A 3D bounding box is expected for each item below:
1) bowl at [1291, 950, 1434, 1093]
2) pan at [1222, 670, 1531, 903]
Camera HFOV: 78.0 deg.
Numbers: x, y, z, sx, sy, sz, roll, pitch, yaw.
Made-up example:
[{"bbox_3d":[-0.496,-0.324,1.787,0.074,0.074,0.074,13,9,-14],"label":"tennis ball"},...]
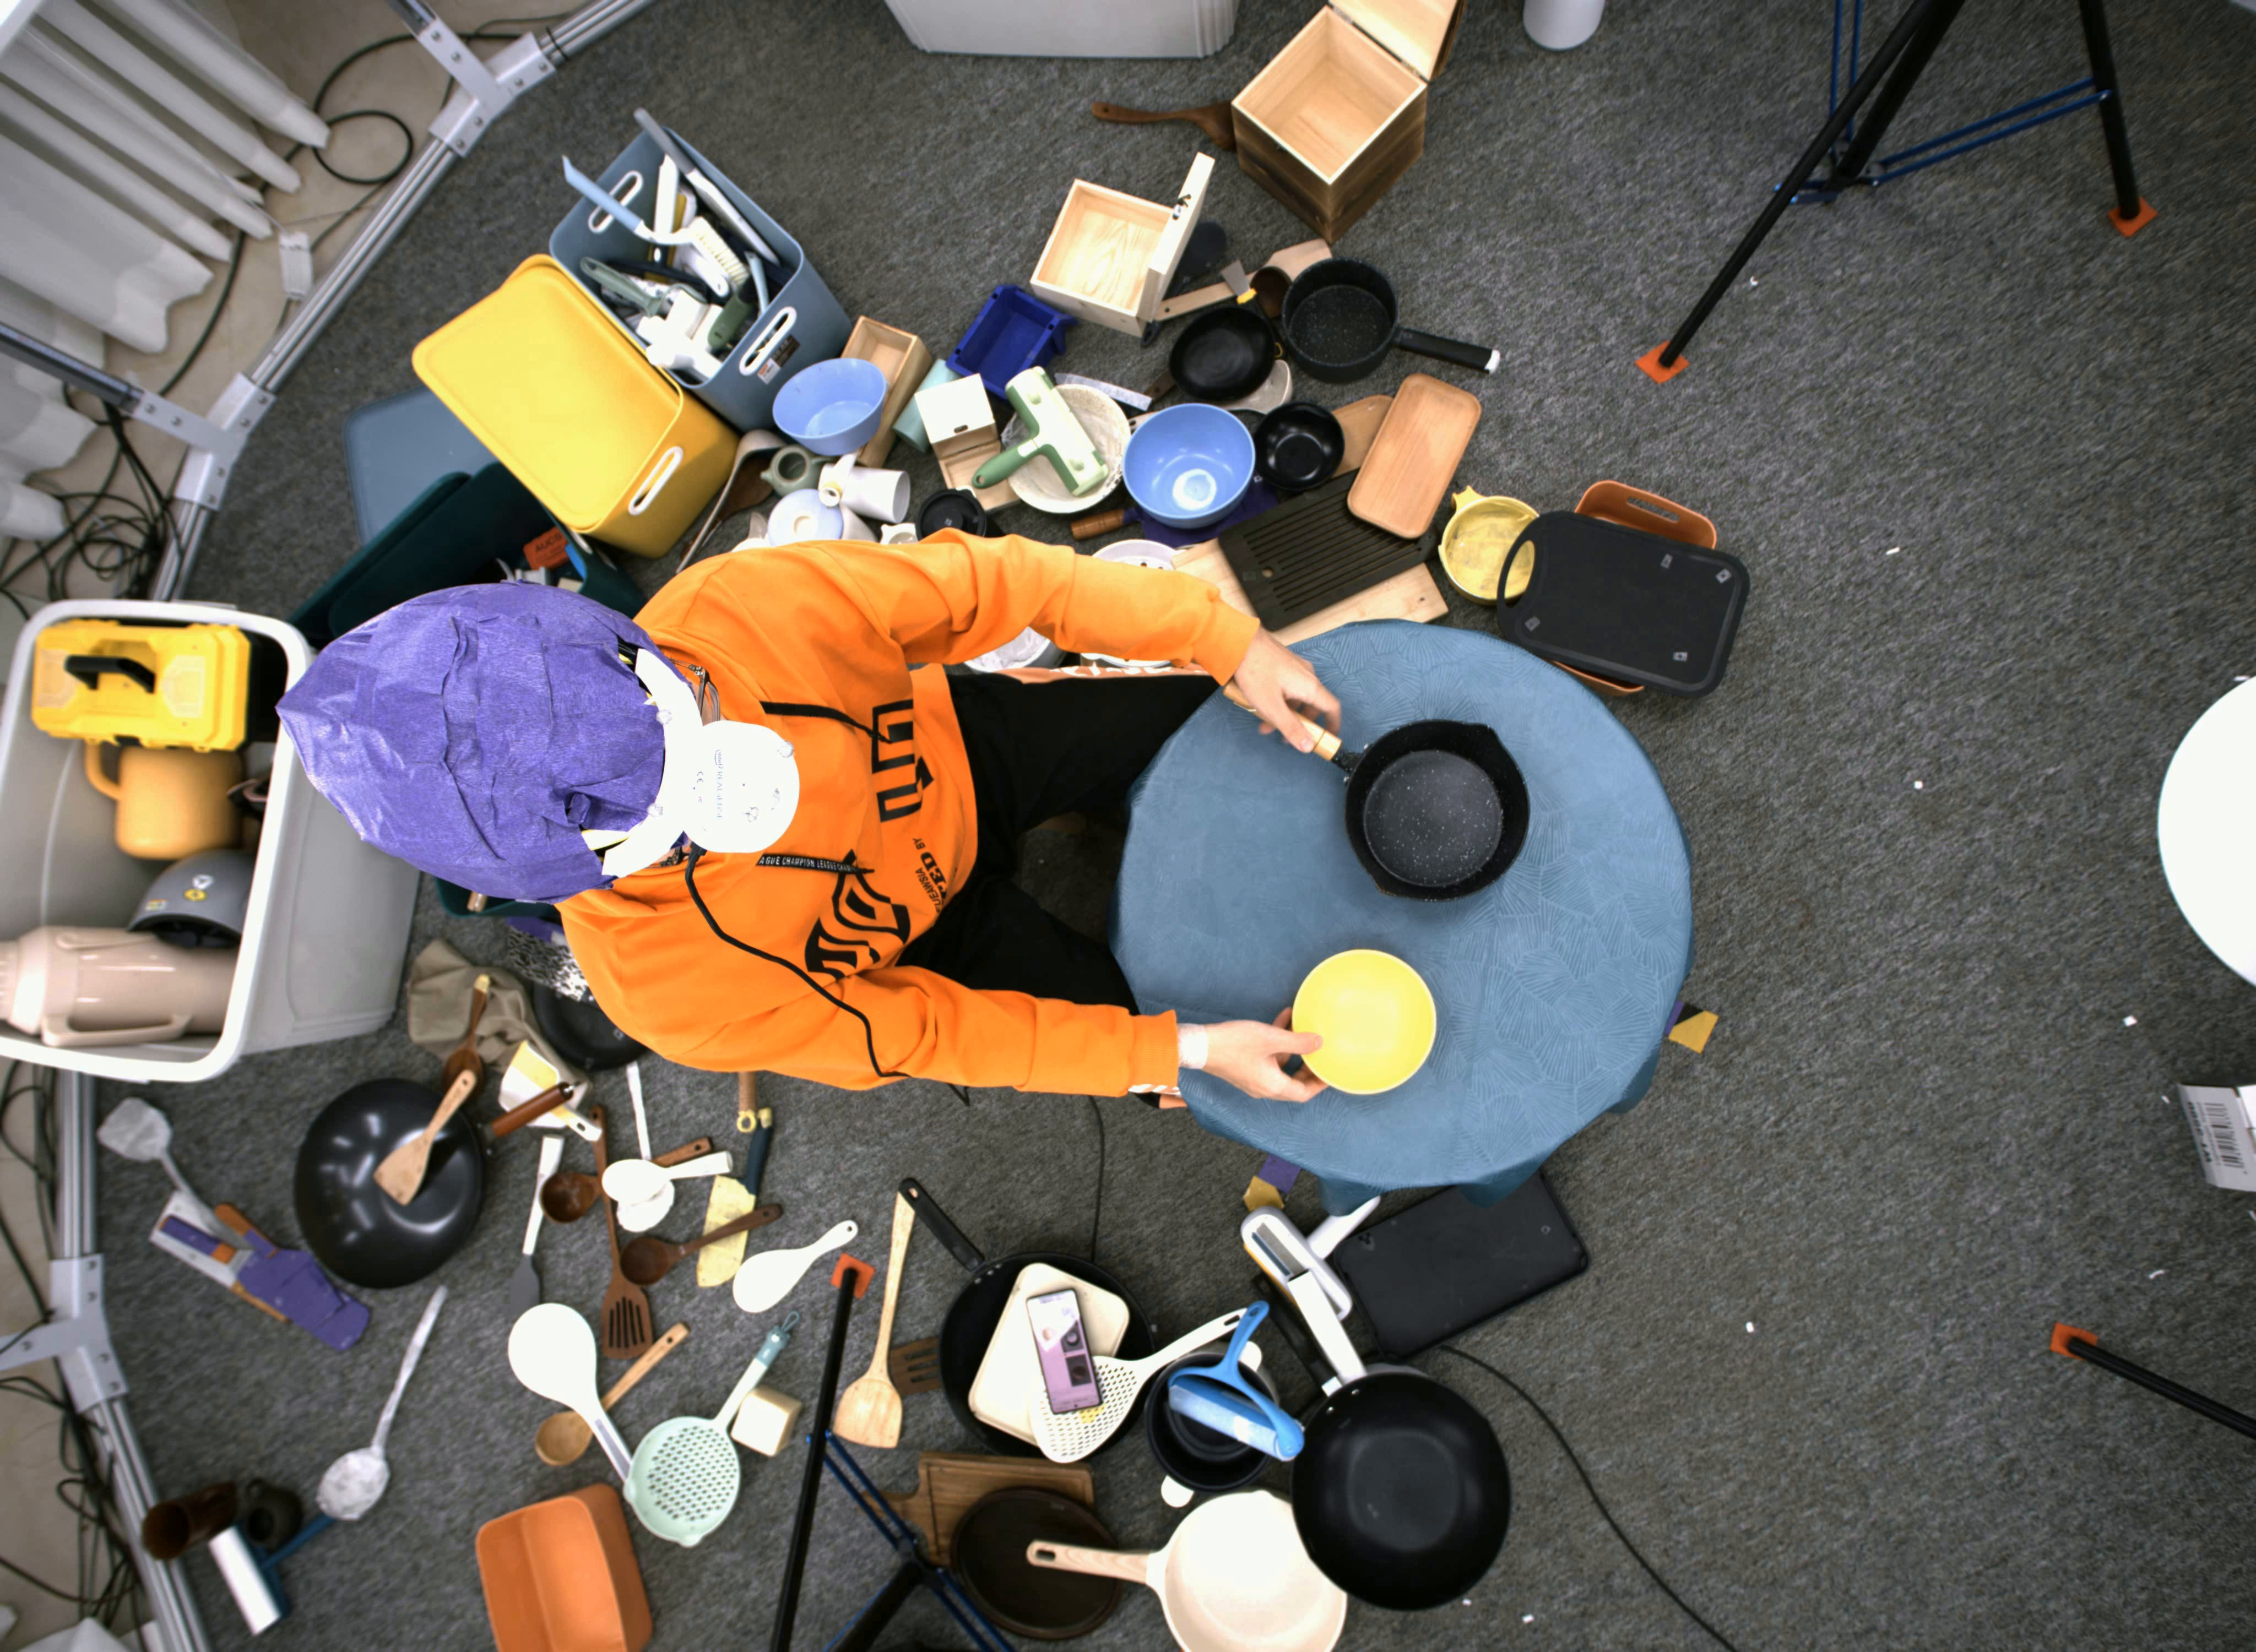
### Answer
[{"bbox_3d":[0.242,0.200,1.429,0.146,0.060,0.144,-1,85,11],"label":"bowl"},{"bbox_3d":[0.246,-0.055,1.417,0.342,0.108,0.208,31,94,9],"label":"pan"}]
